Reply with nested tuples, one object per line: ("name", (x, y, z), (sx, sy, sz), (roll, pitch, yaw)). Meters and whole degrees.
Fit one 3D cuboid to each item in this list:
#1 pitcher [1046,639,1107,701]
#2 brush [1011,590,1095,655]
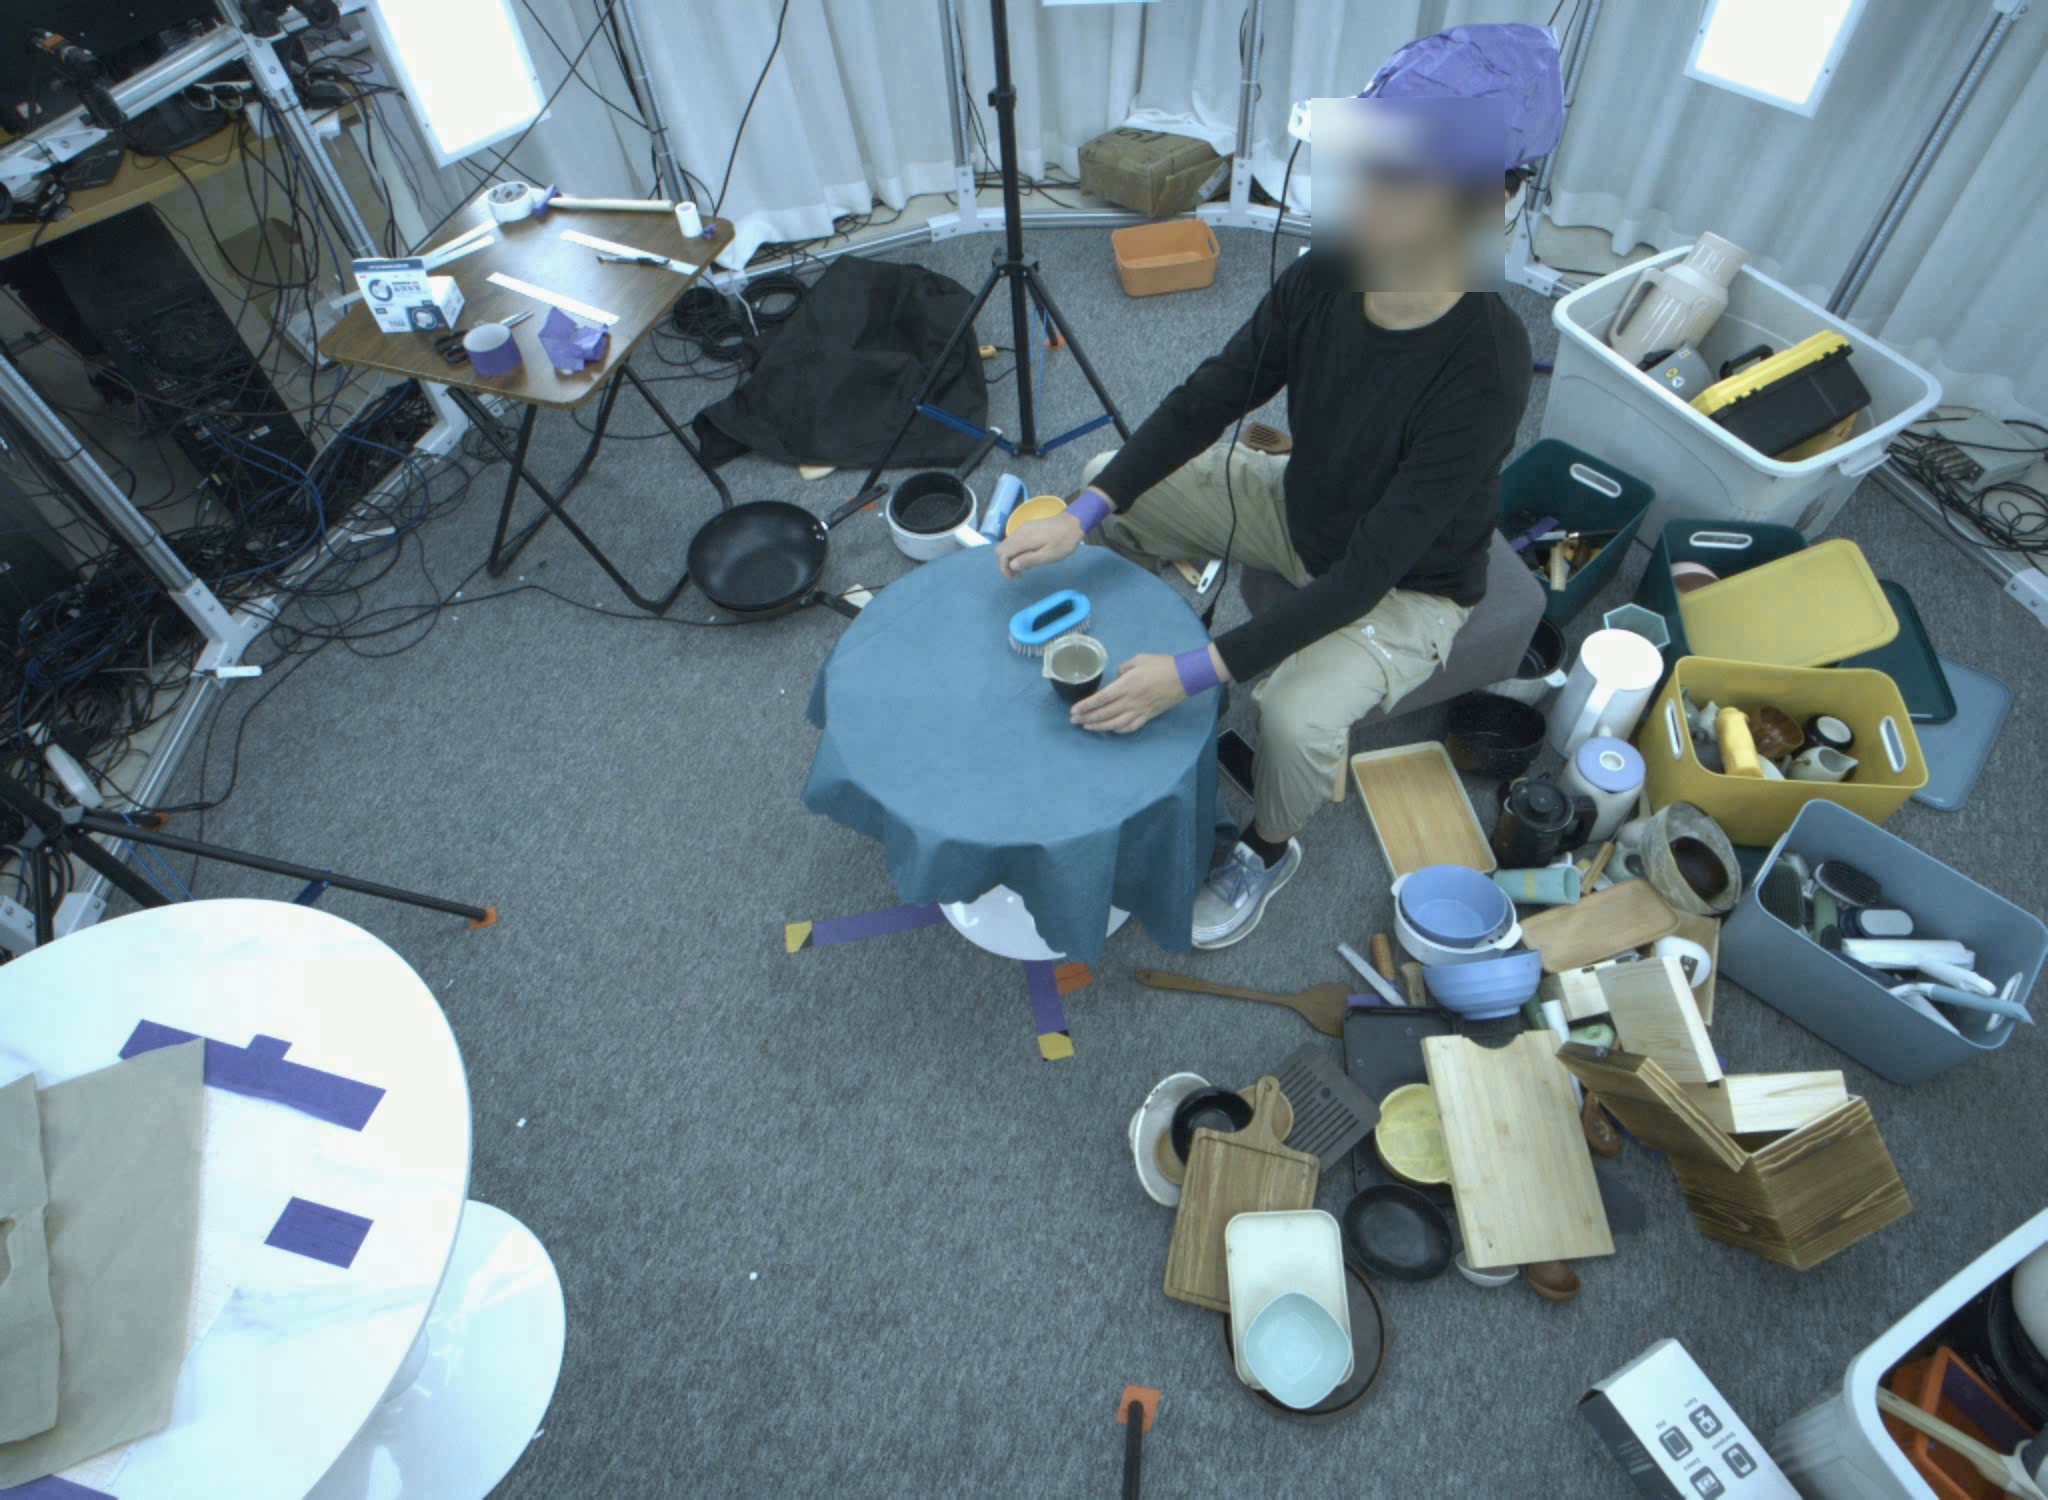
("pitcher", (0.077, -0.112, 1.820), (0.096, 0.072, 0.082), (-24, 58, -12))
("brush", (0.041, -0.208, 1.896), (0.143, 0.064, 0.082), (-29, 53, -18))
